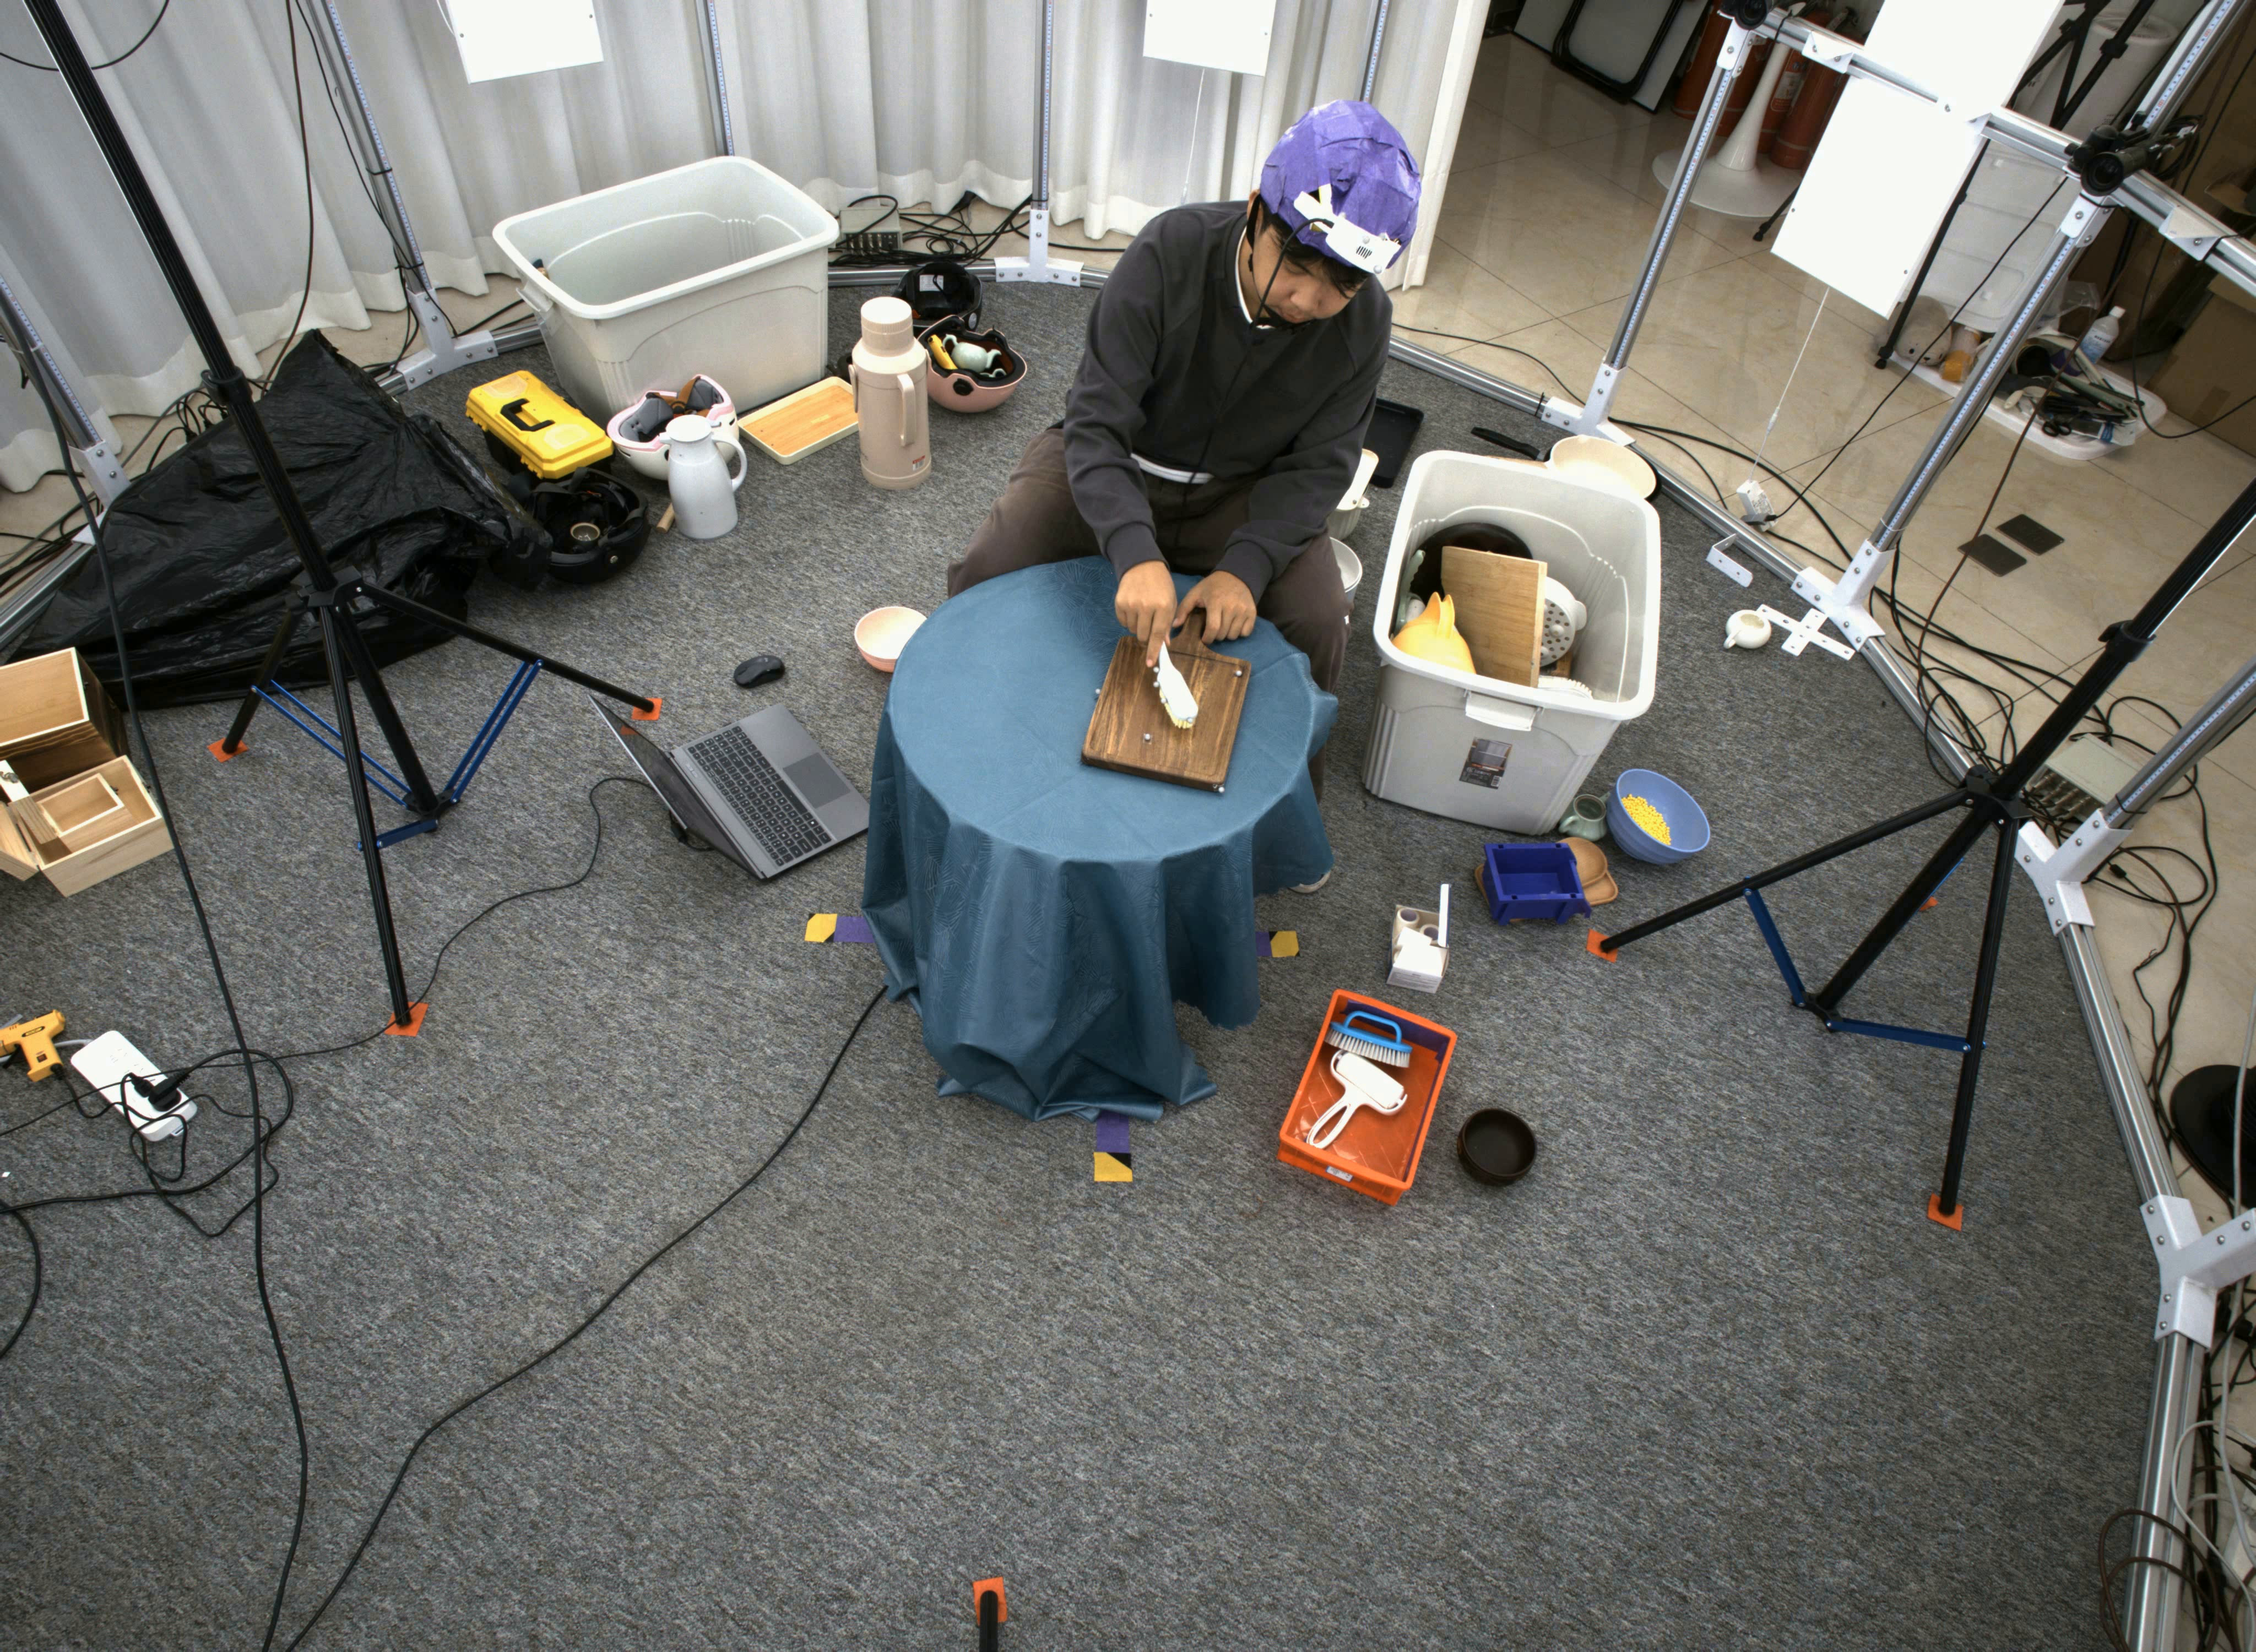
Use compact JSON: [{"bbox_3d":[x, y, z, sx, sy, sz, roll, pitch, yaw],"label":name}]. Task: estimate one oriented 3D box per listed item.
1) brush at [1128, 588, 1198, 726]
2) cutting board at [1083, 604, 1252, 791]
[{"bbox_3d":[0.044,-0.240,1.809,0.038,0.049,0.233,-15,66,-16],"label":"brush"},{"bbox_3d":[0.071,-0.199,1.830,0.201,0.022,0.360,12,49,6],"label":"cutting board"}]
